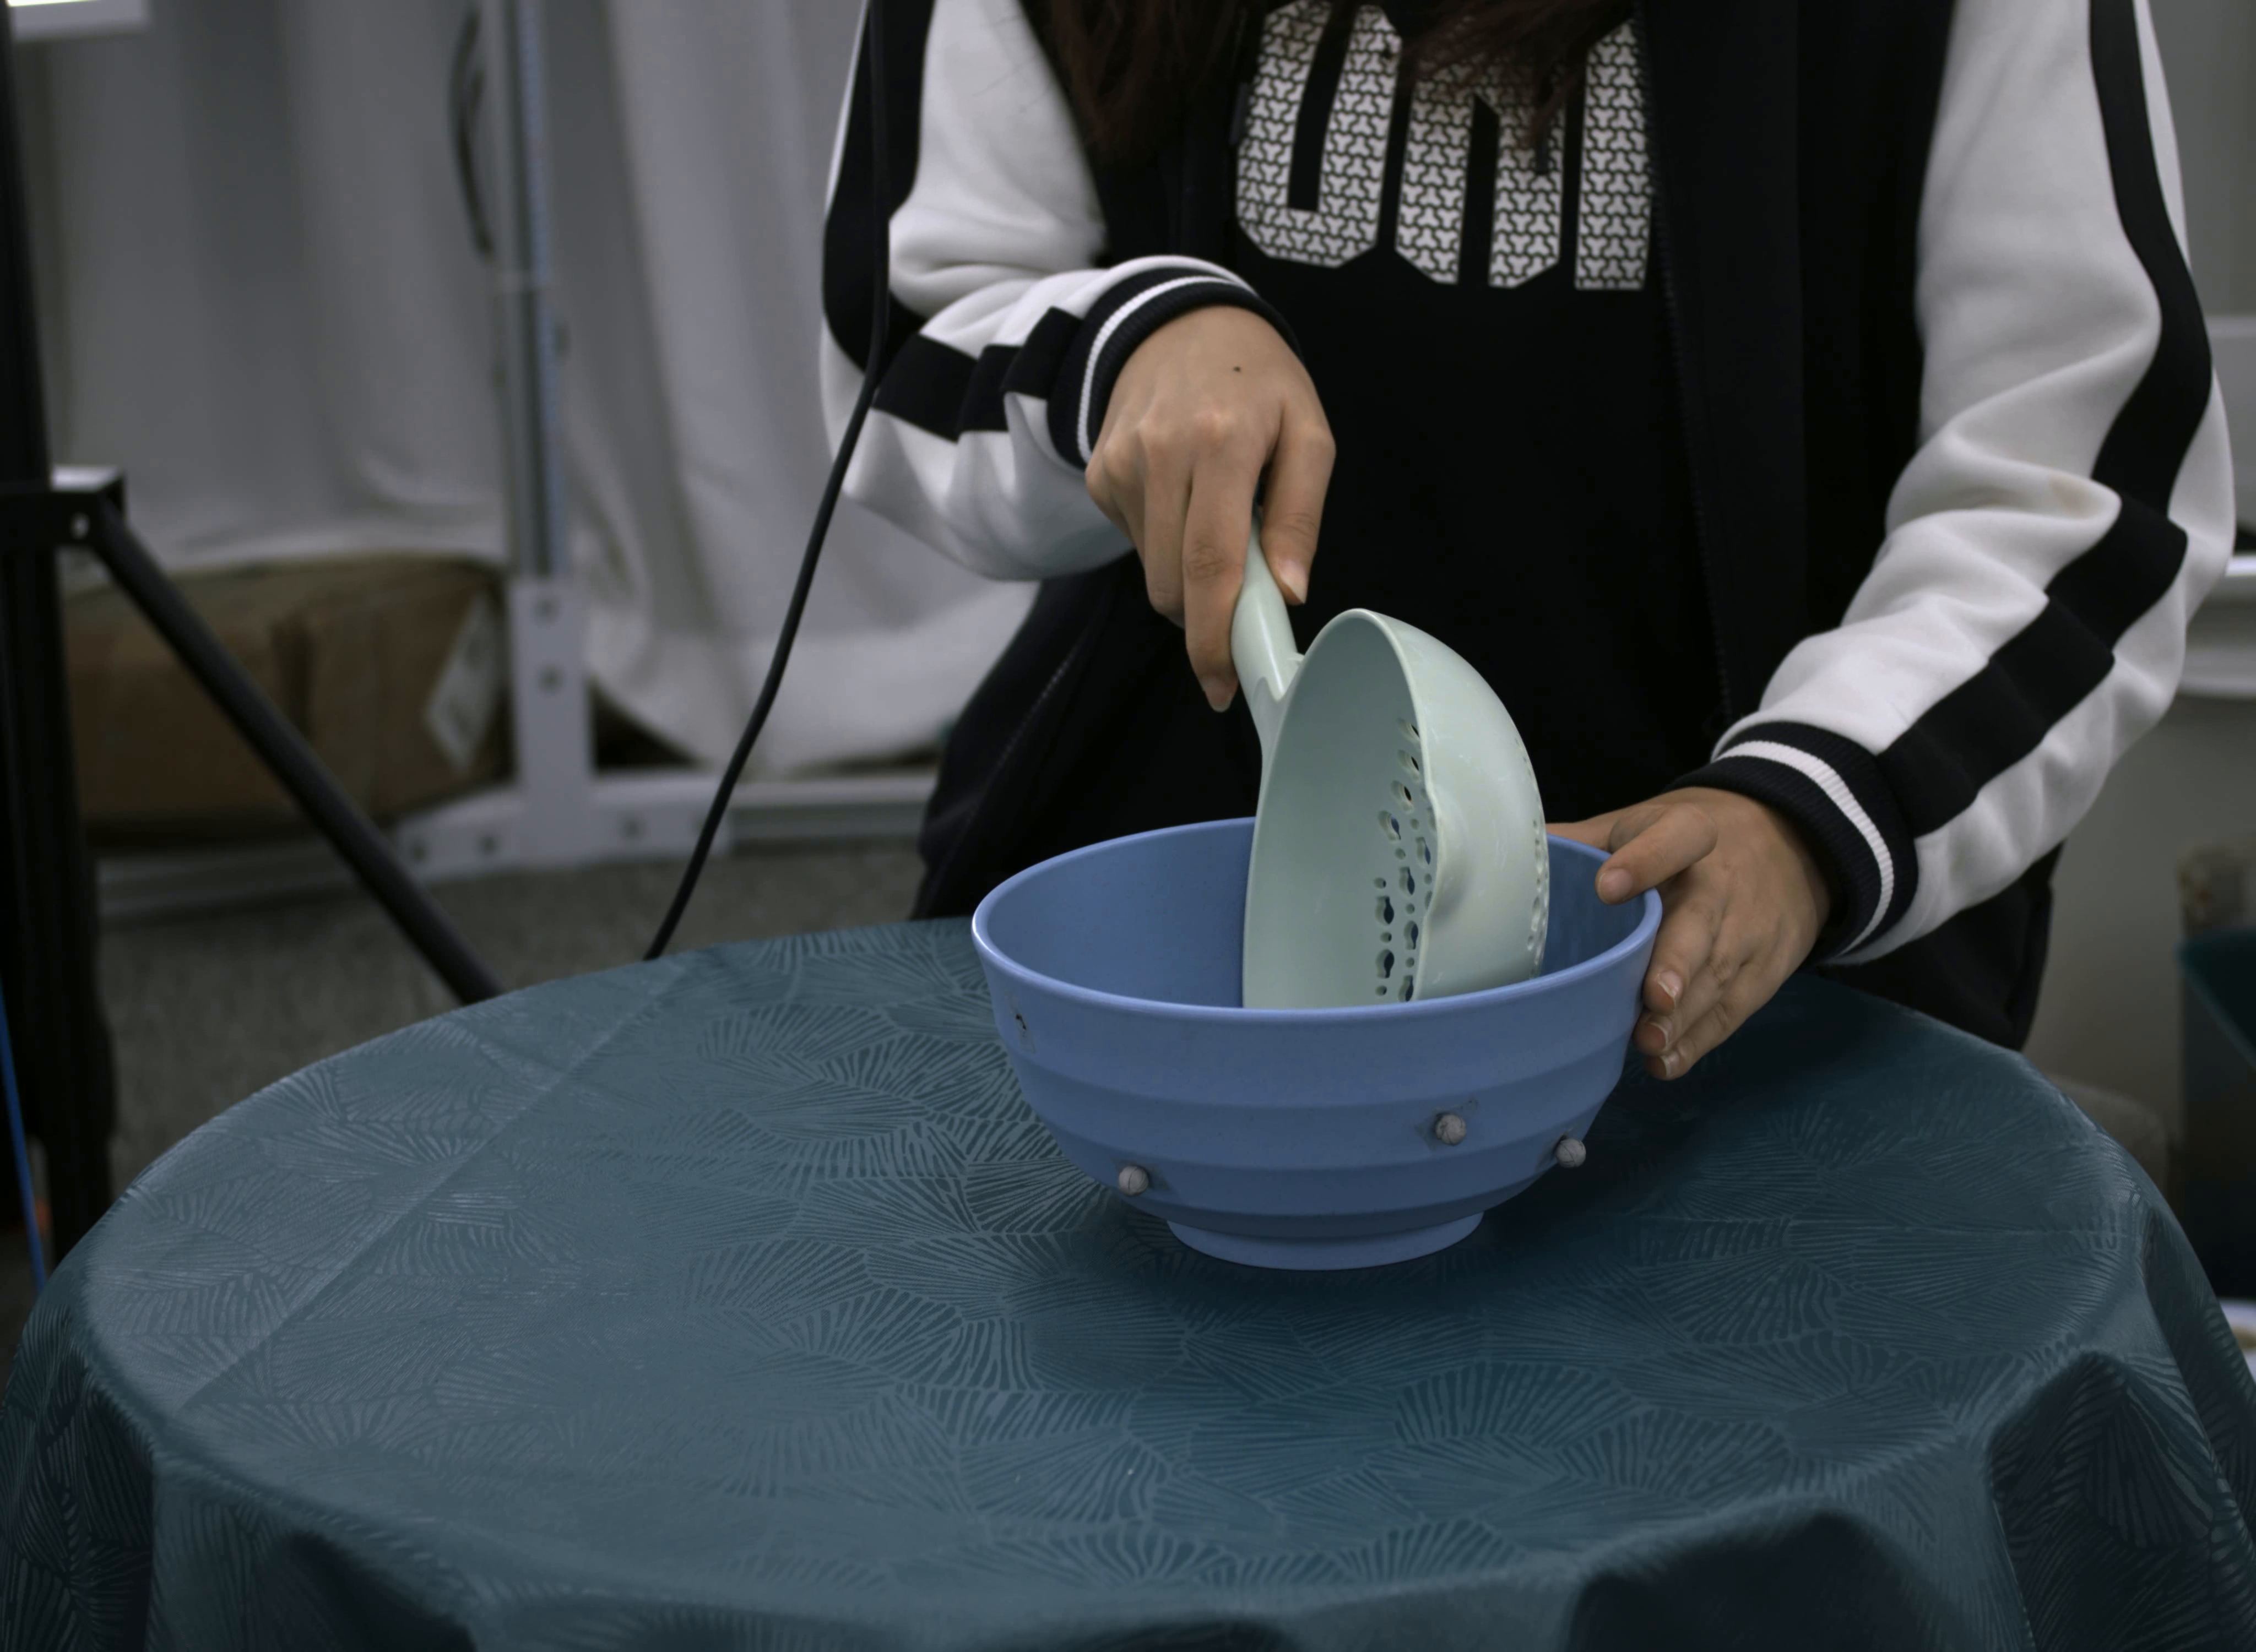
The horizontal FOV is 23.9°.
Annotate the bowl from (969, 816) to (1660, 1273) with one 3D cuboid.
[{"bbox_3d":[0.054,0.068,1.517,0.195,0.095,0.197,-3,16,-1],"label":"bowl"}]

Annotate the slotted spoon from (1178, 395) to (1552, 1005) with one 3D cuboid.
[{"bbox_3d":[0.054,-0.032,1.592,0.074,0.169,0.365,1,34,-21],"label":"slotted spoon"}]
